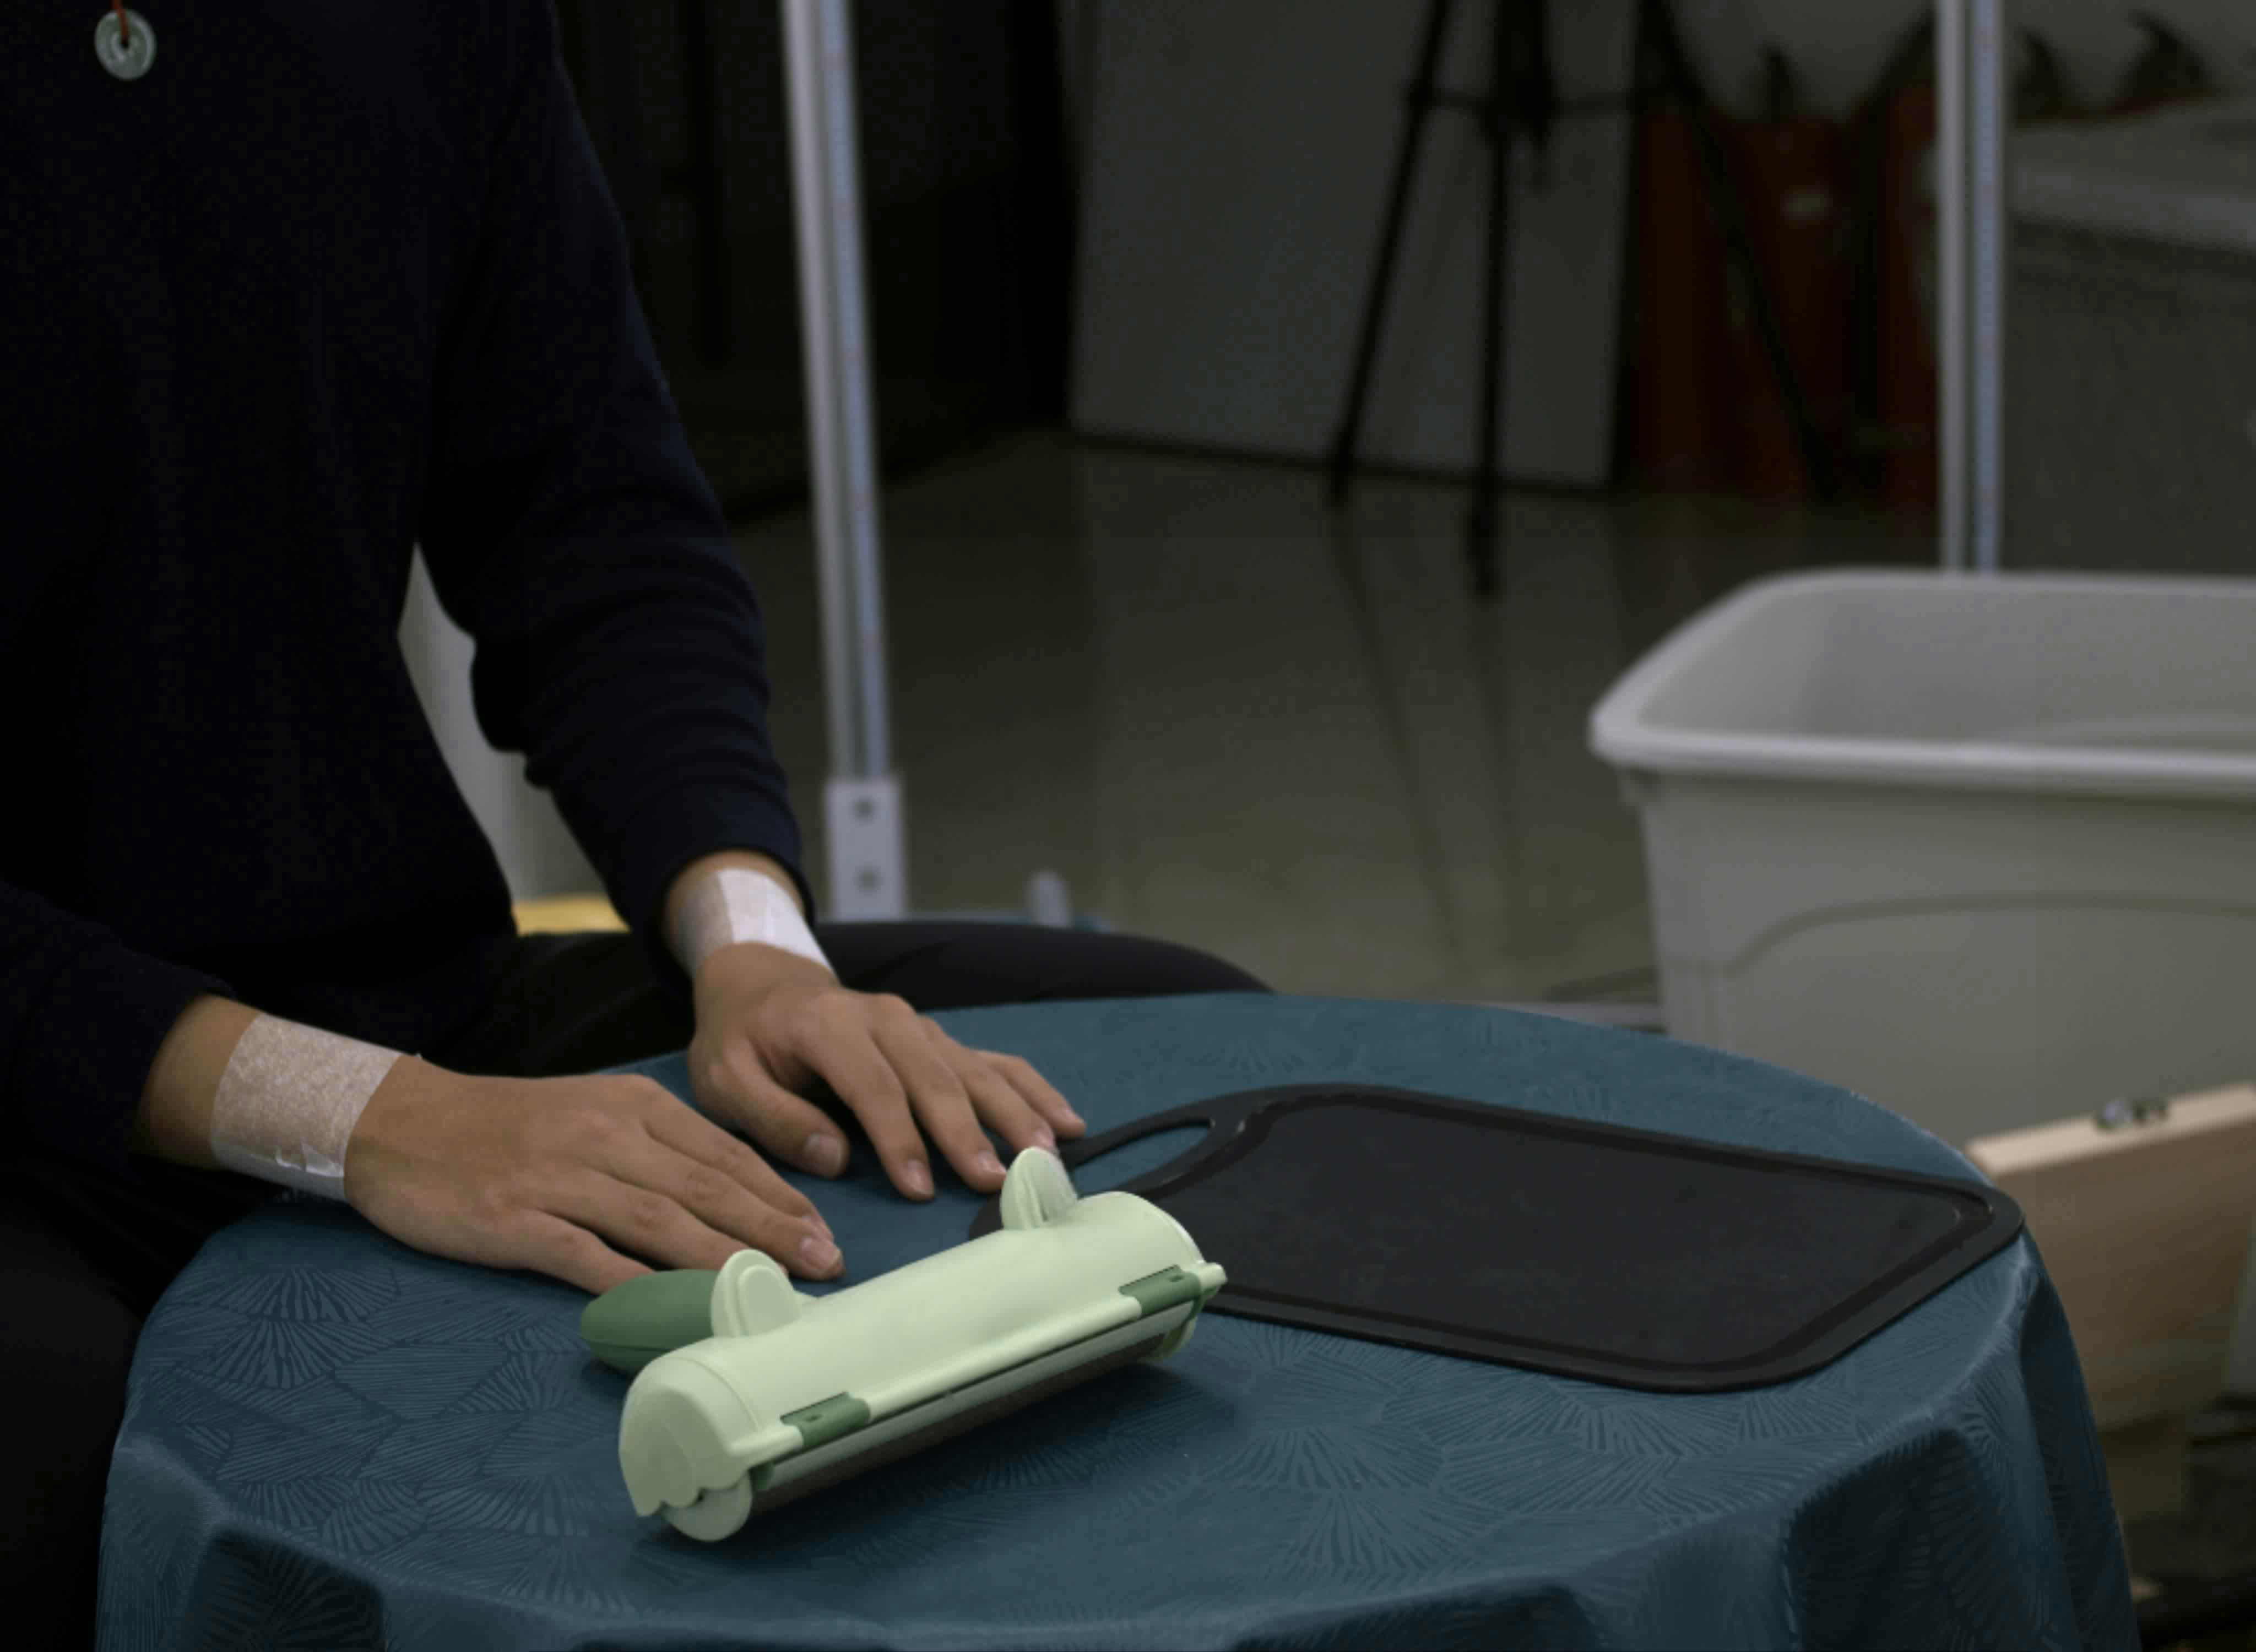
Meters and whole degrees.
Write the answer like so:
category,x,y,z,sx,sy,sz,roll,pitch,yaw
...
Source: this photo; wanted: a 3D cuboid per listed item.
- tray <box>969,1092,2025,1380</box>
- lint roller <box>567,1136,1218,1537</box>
category,x,y,z,sx,sy,sz,roll,pitch,yaw
tray,0.108,0.125,1.709,0.327,0.010,0.207,6,17,36
lint roller,-0.100,0.132,1.576,0.185,0.083,0.194,17,23,41
